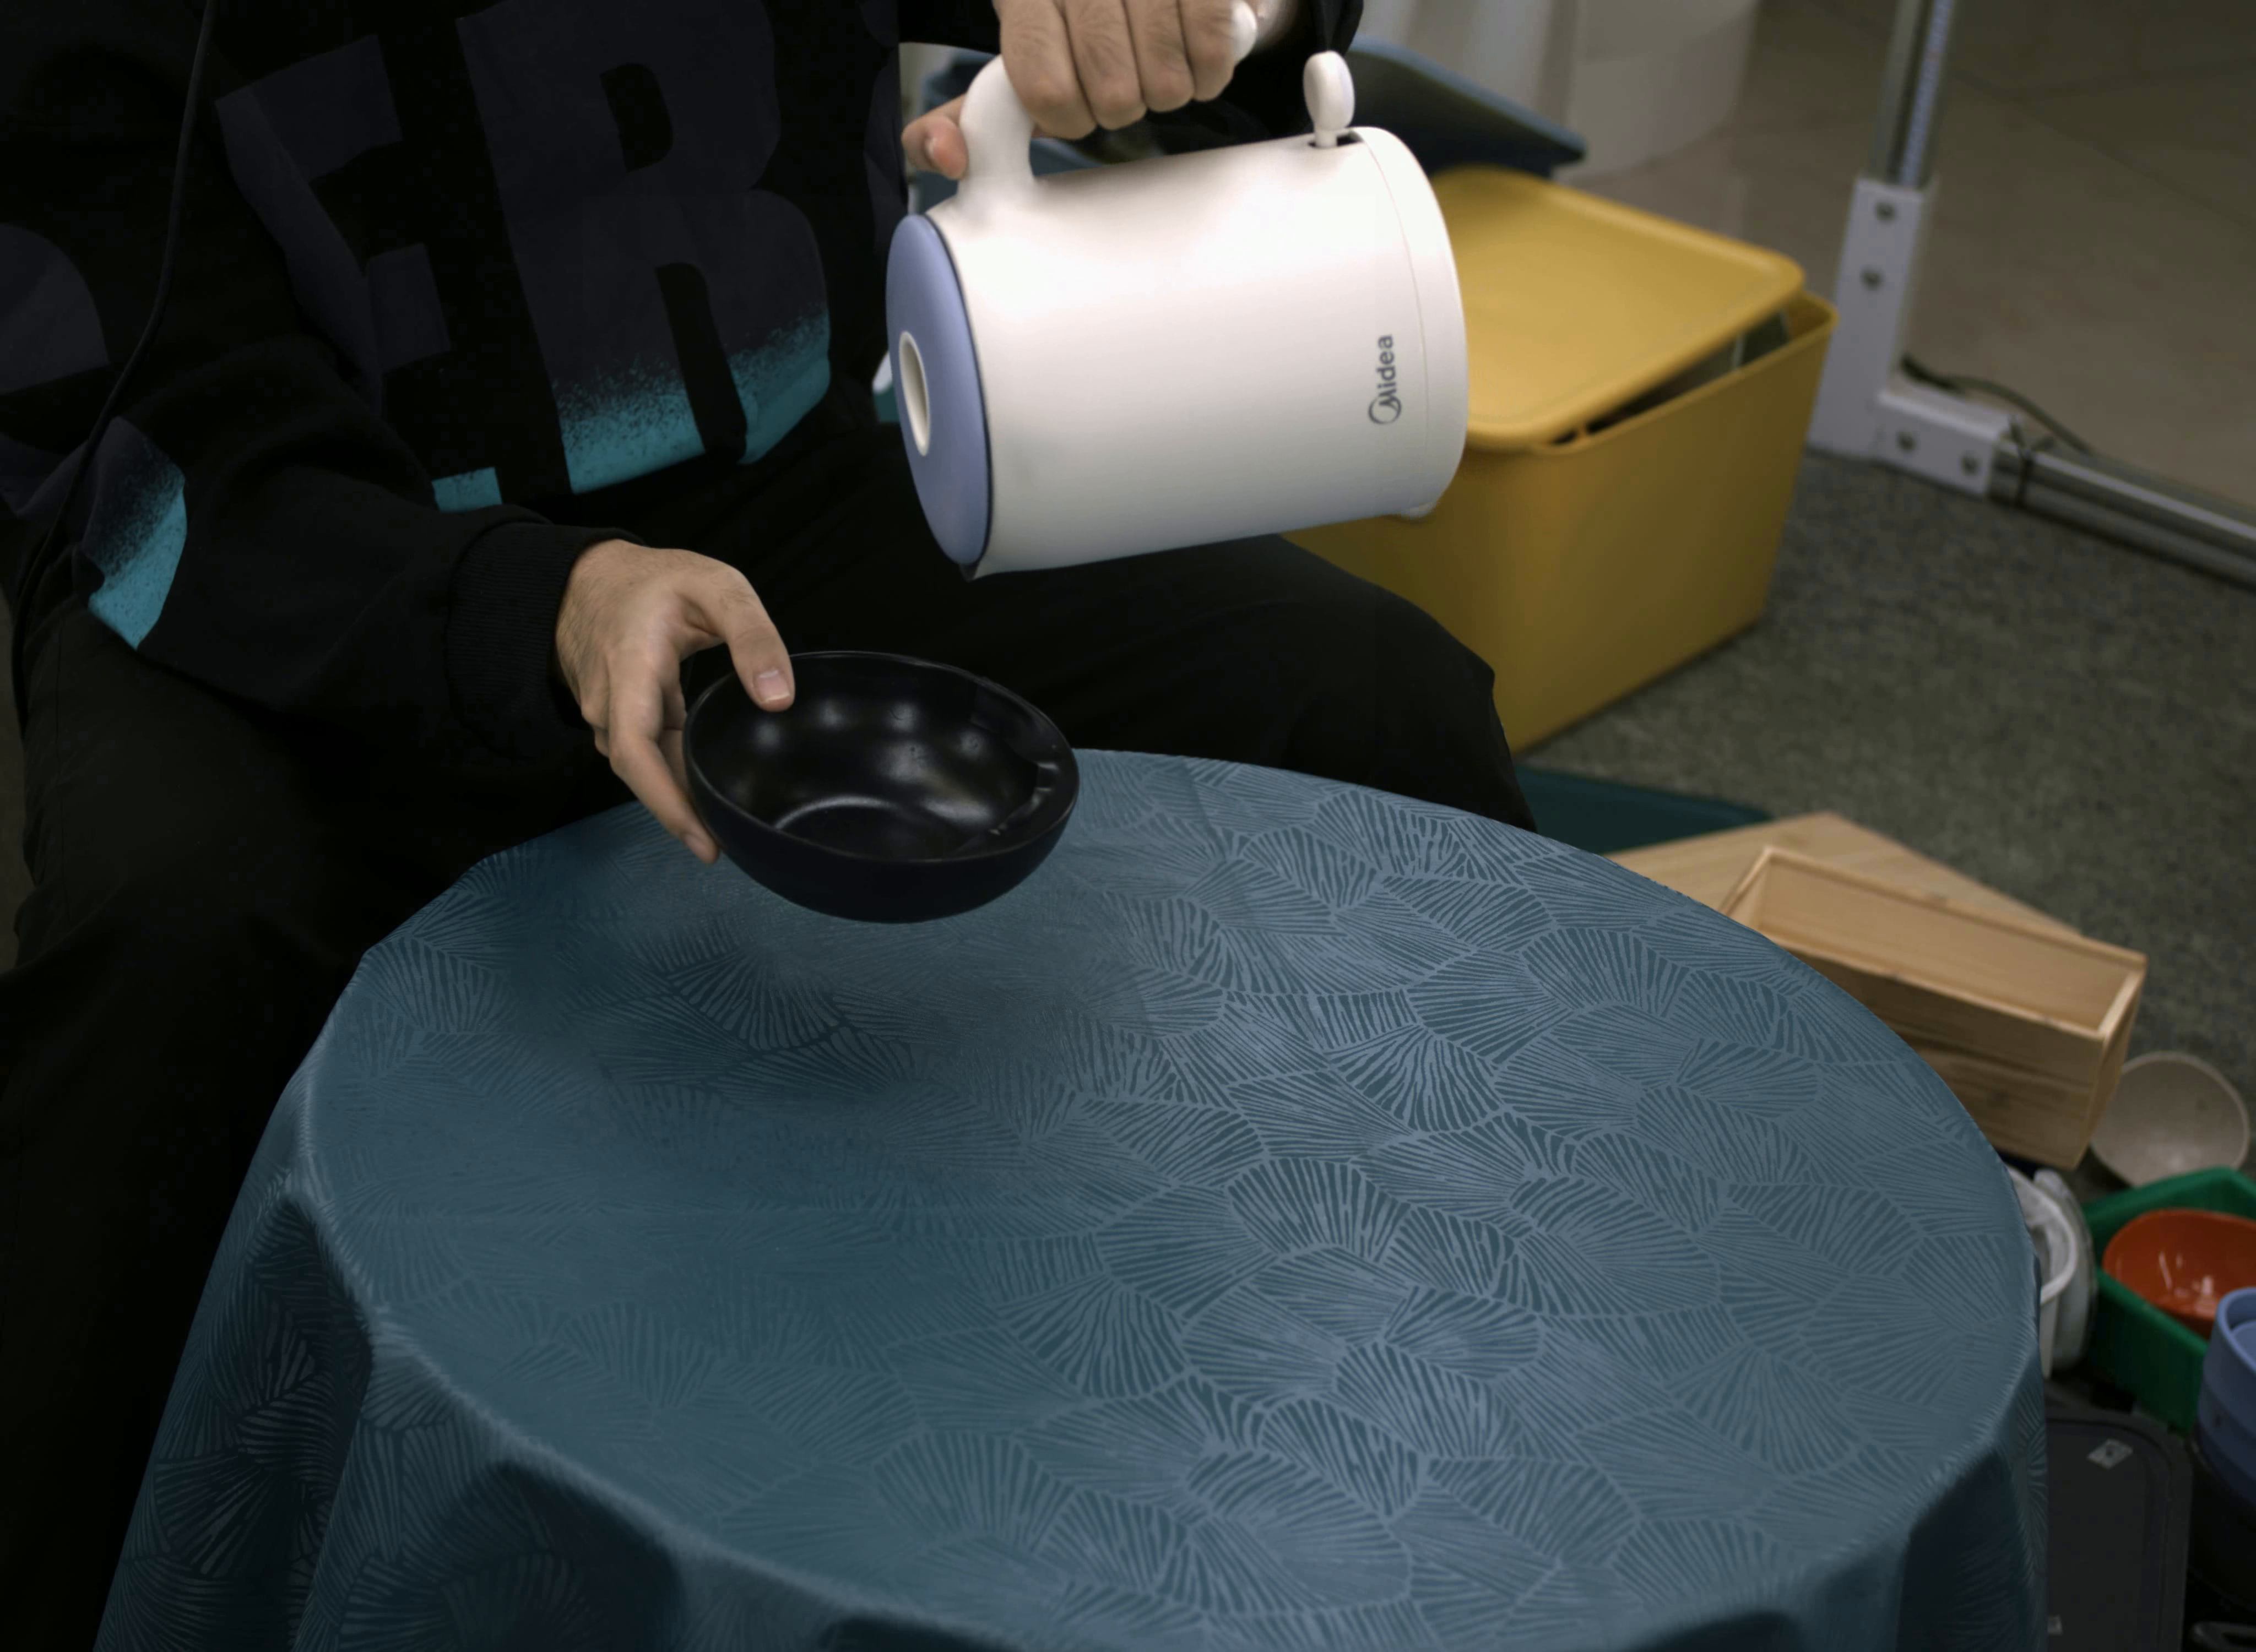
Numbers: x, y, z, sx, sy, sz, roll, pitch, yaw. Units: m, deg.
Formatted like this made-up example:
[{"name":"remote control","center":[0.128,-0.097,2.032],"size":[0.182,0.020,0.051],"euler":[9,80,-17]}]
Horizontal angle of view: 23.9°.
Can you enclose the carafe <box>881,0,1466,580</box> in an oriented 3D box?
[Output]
[{"name":"carafe","center":[0.013,-0.183,1.782],"size":[0.181,0.190,0.133],"euler":[-8,20,-14]}]

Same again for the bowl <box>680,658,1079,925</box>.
[{"name":"bowl","center":[-0.088,-0.004,1.842],"size":[0.139,0.049,0.141],"euler":[6,29,-4]}]
